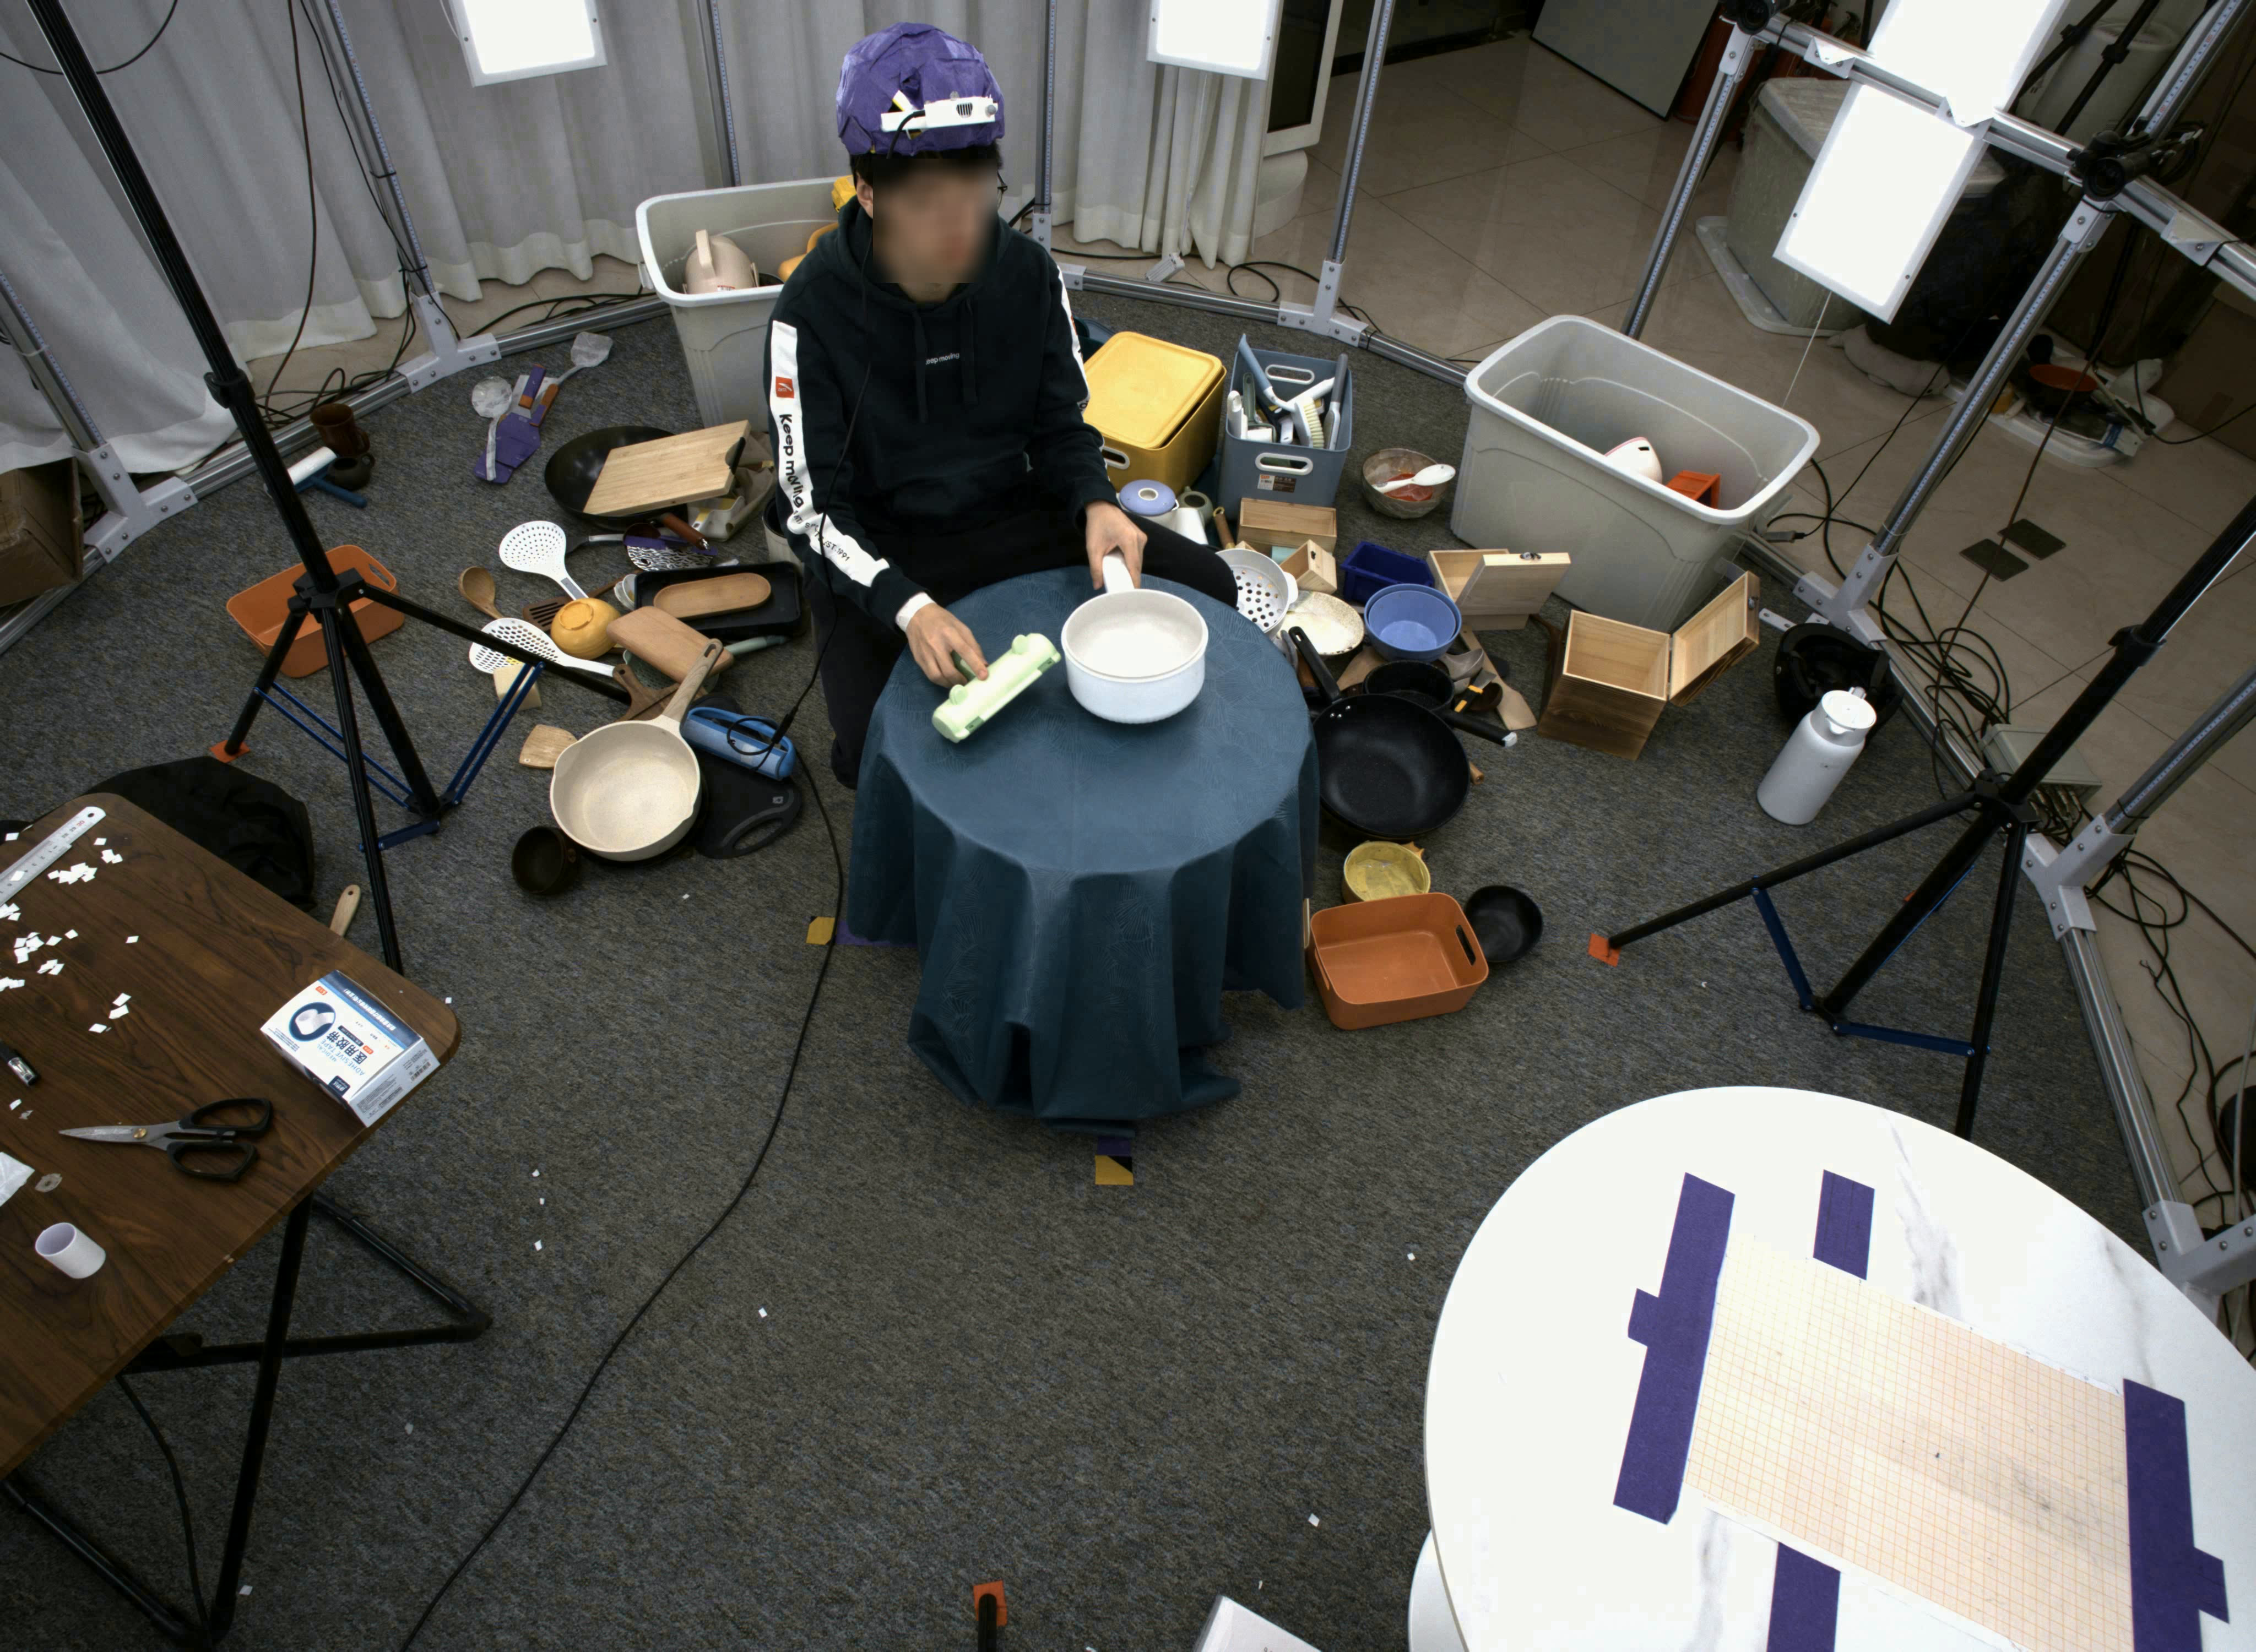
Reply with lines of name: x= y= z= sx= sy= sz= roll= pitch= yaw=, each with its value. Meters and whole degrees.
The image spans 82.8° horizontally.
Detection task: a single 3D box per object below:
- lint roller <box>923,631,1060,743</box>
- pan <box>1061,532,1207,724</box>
lint roller: x=-0.222 y=-0.228 z=1.771 sx=0.186 sy=0.080 sz=0.200 roll=40 pitch=68 yaw=21
pan: x=0.000 y=-0.286 z=1.851 sx=0.201 sy=0.099 sz=0.364 roll=-9 pitch=44 yaw=-3
